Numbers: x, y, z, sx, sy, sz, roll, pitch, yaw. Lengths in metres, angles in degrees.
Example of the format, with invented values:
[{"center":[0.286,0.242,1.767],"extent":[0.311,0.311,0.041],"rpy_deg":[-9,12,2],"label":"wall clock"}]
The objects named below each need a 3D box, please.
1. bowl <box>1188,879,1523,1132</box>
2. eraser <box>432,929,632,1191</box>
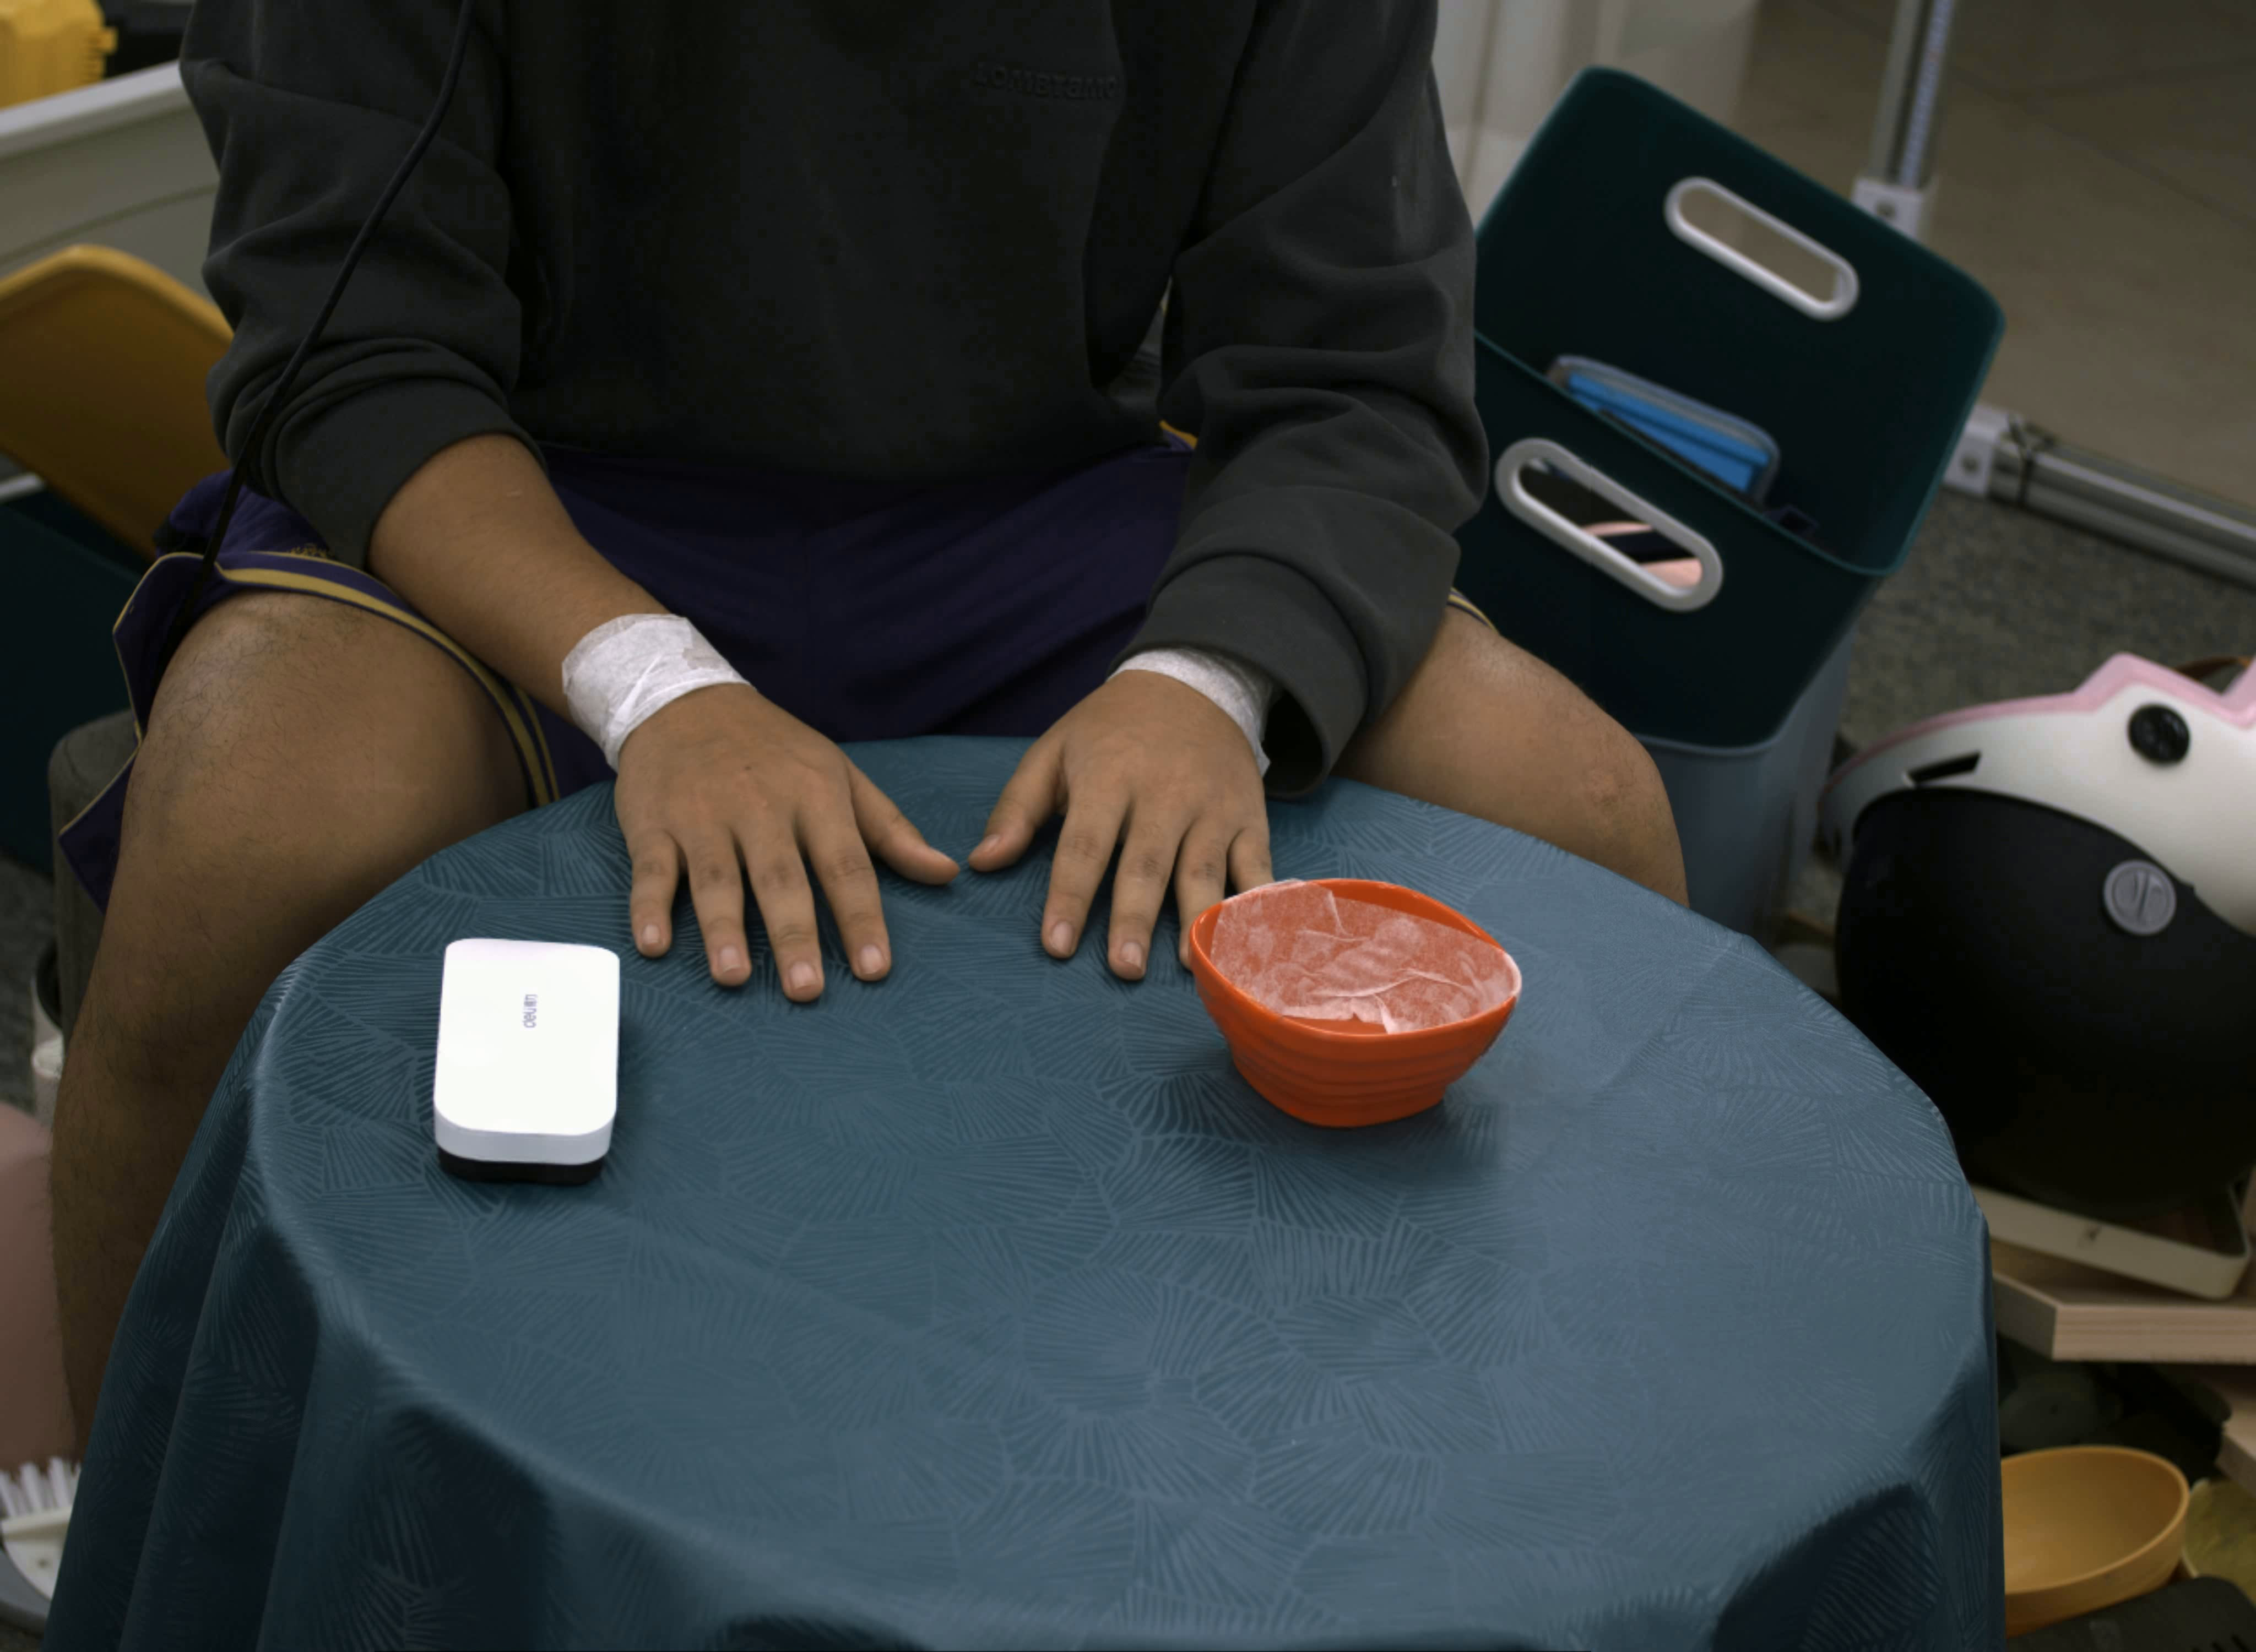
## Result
[{"center":[0.077,0.067,1.874],"extent":[0.118,0.051,0.119],"rpy_deg":[4,27,-3],"label":"bowl"},{"center":[-0.203,0.076,1.813],"extent":[0.063,0.034,0.132],"rpy_deg":[6,29,-5],"label":"eraser"}]
